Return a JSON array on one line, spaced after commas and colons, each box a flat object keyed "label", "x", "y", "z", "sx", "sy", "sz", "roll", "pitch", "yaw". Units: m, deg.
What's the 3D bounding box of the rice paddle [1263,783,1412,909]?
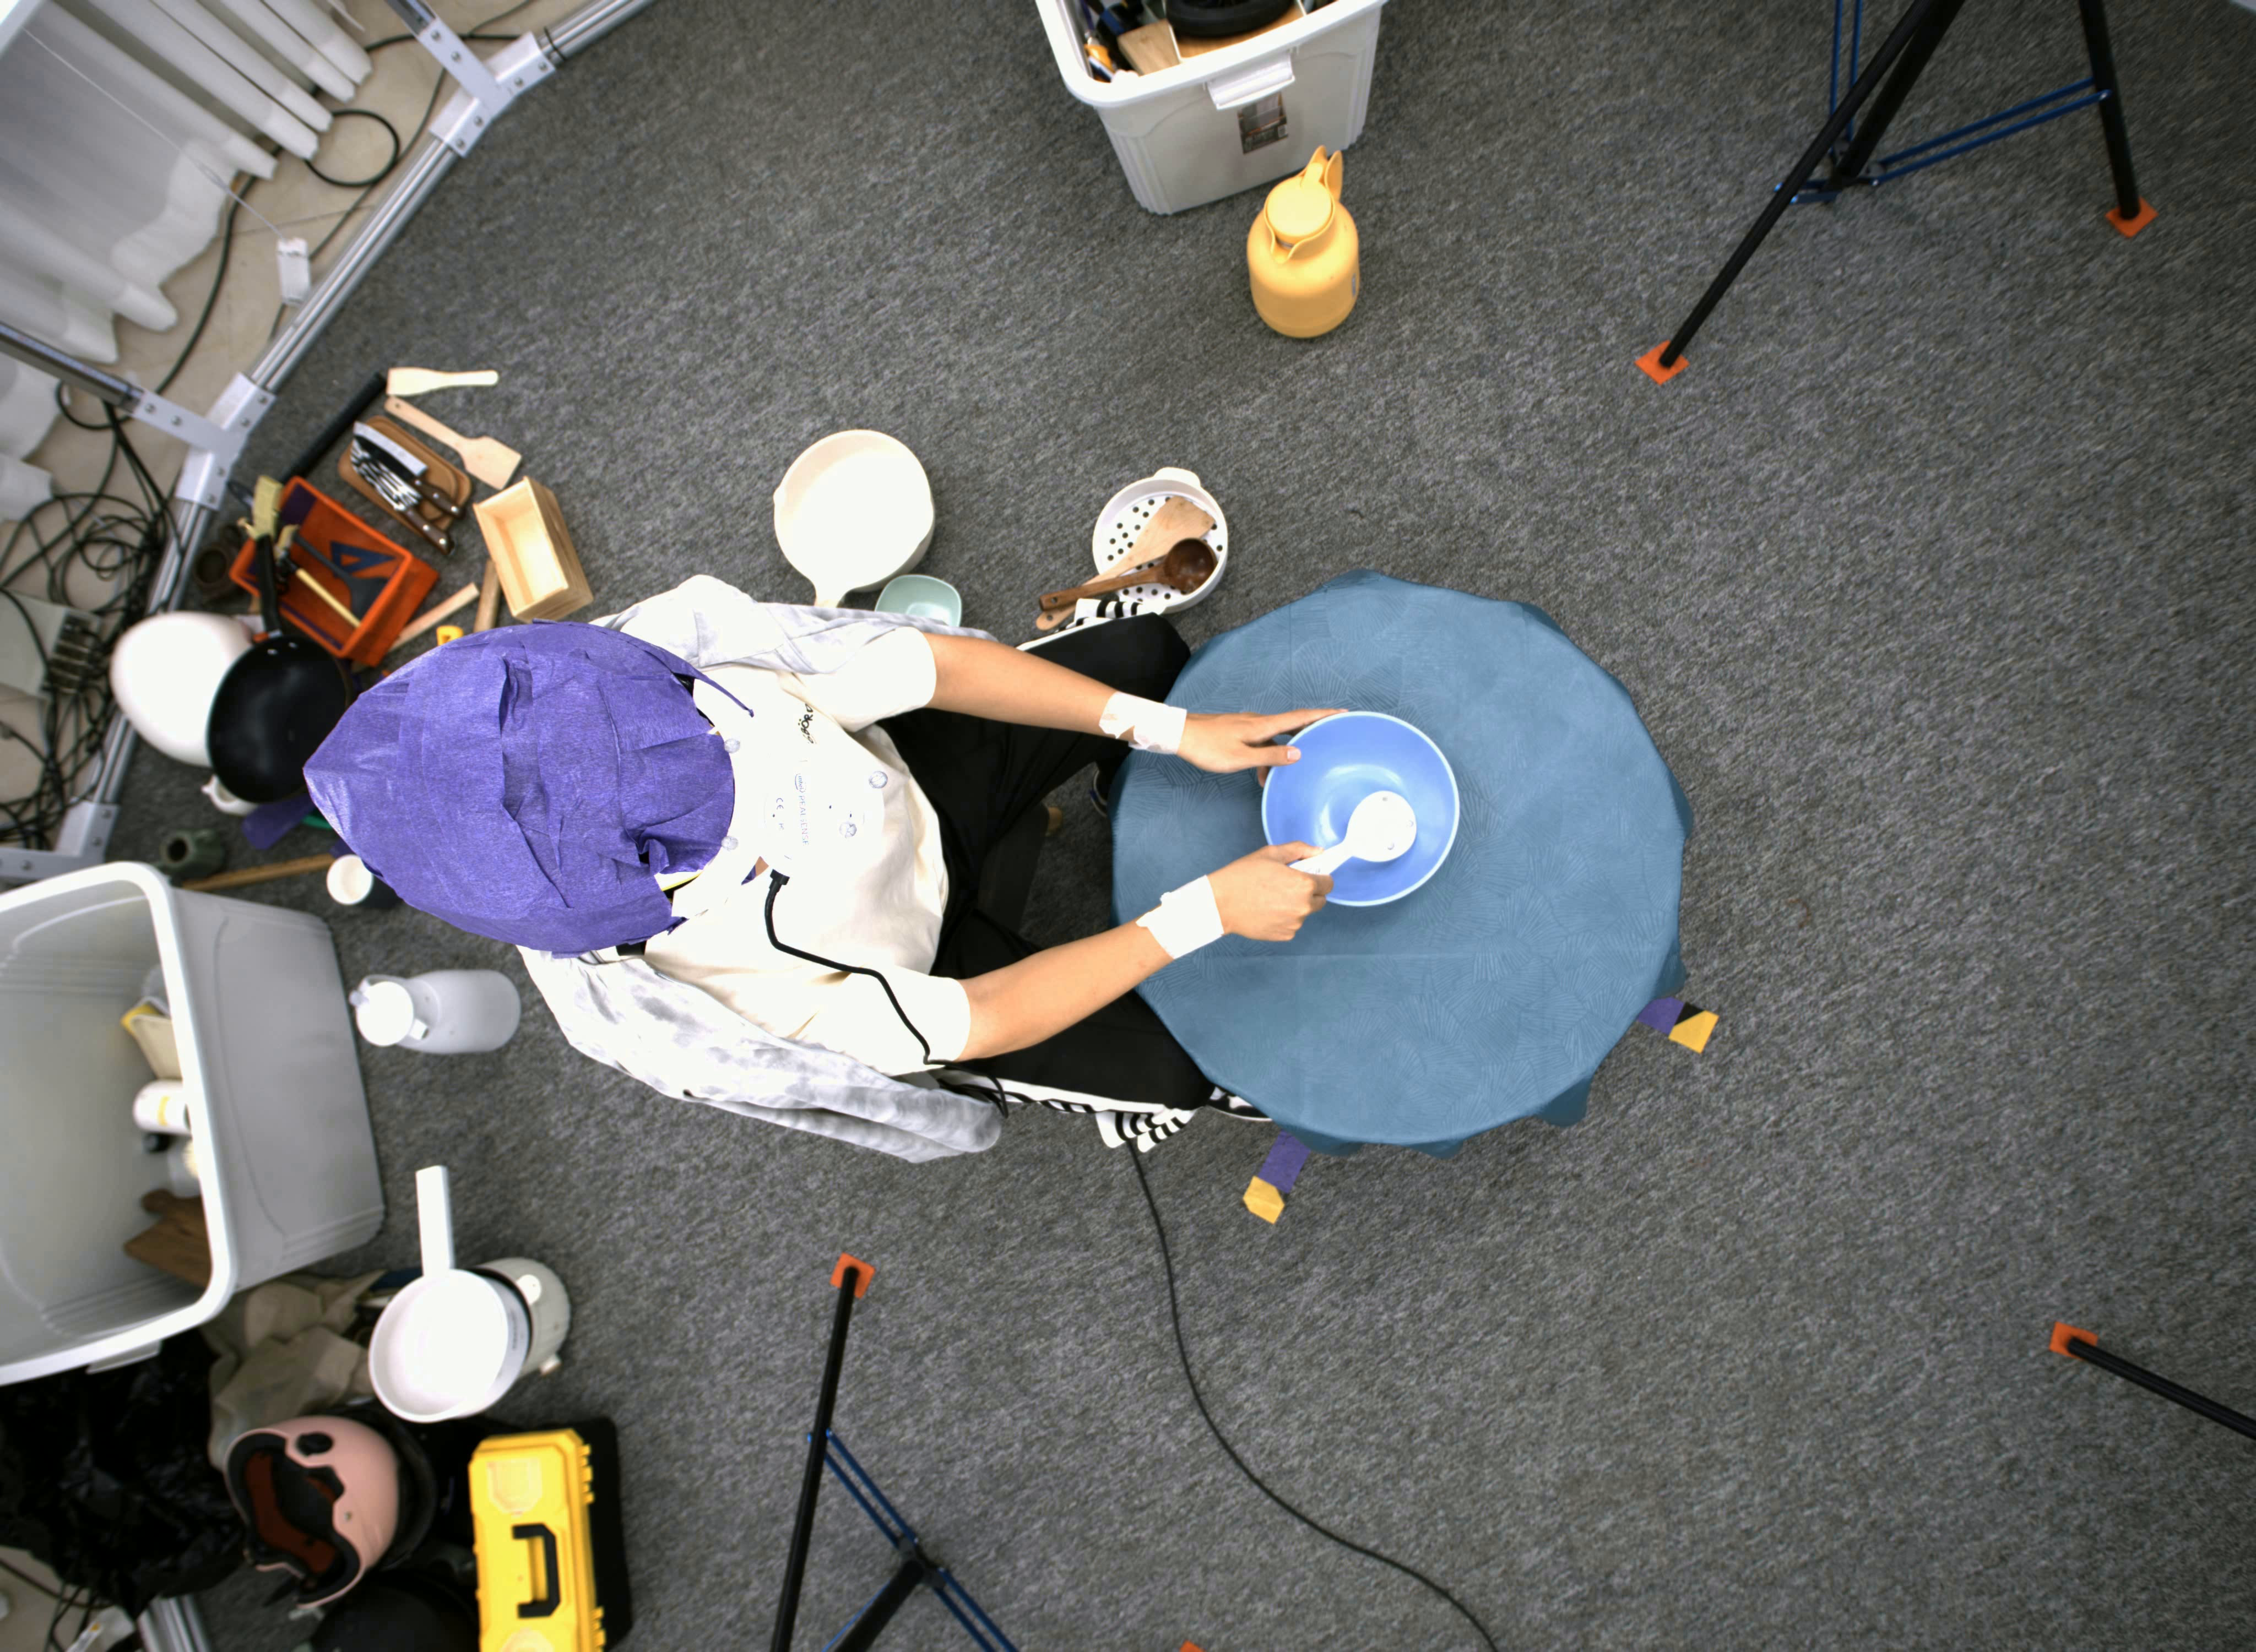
[{"label": "rice paddle", "x": 0.217, "y": 0.017, "z": 1.394, "sx": 0.202, "sy": 0.030, "sz": 0.068, "roll": -34, "pitch": 86, "yaw": -27}]

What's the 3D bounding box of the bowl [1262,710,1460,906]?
[{"label": "bowl", "x": 0.238, "y": -0.015, "z": 1.419, "sx": 0.197, "sy": 0.095, "sz": 0.196, "roll": -1, "pitch": 87, "yaw": 9}]
